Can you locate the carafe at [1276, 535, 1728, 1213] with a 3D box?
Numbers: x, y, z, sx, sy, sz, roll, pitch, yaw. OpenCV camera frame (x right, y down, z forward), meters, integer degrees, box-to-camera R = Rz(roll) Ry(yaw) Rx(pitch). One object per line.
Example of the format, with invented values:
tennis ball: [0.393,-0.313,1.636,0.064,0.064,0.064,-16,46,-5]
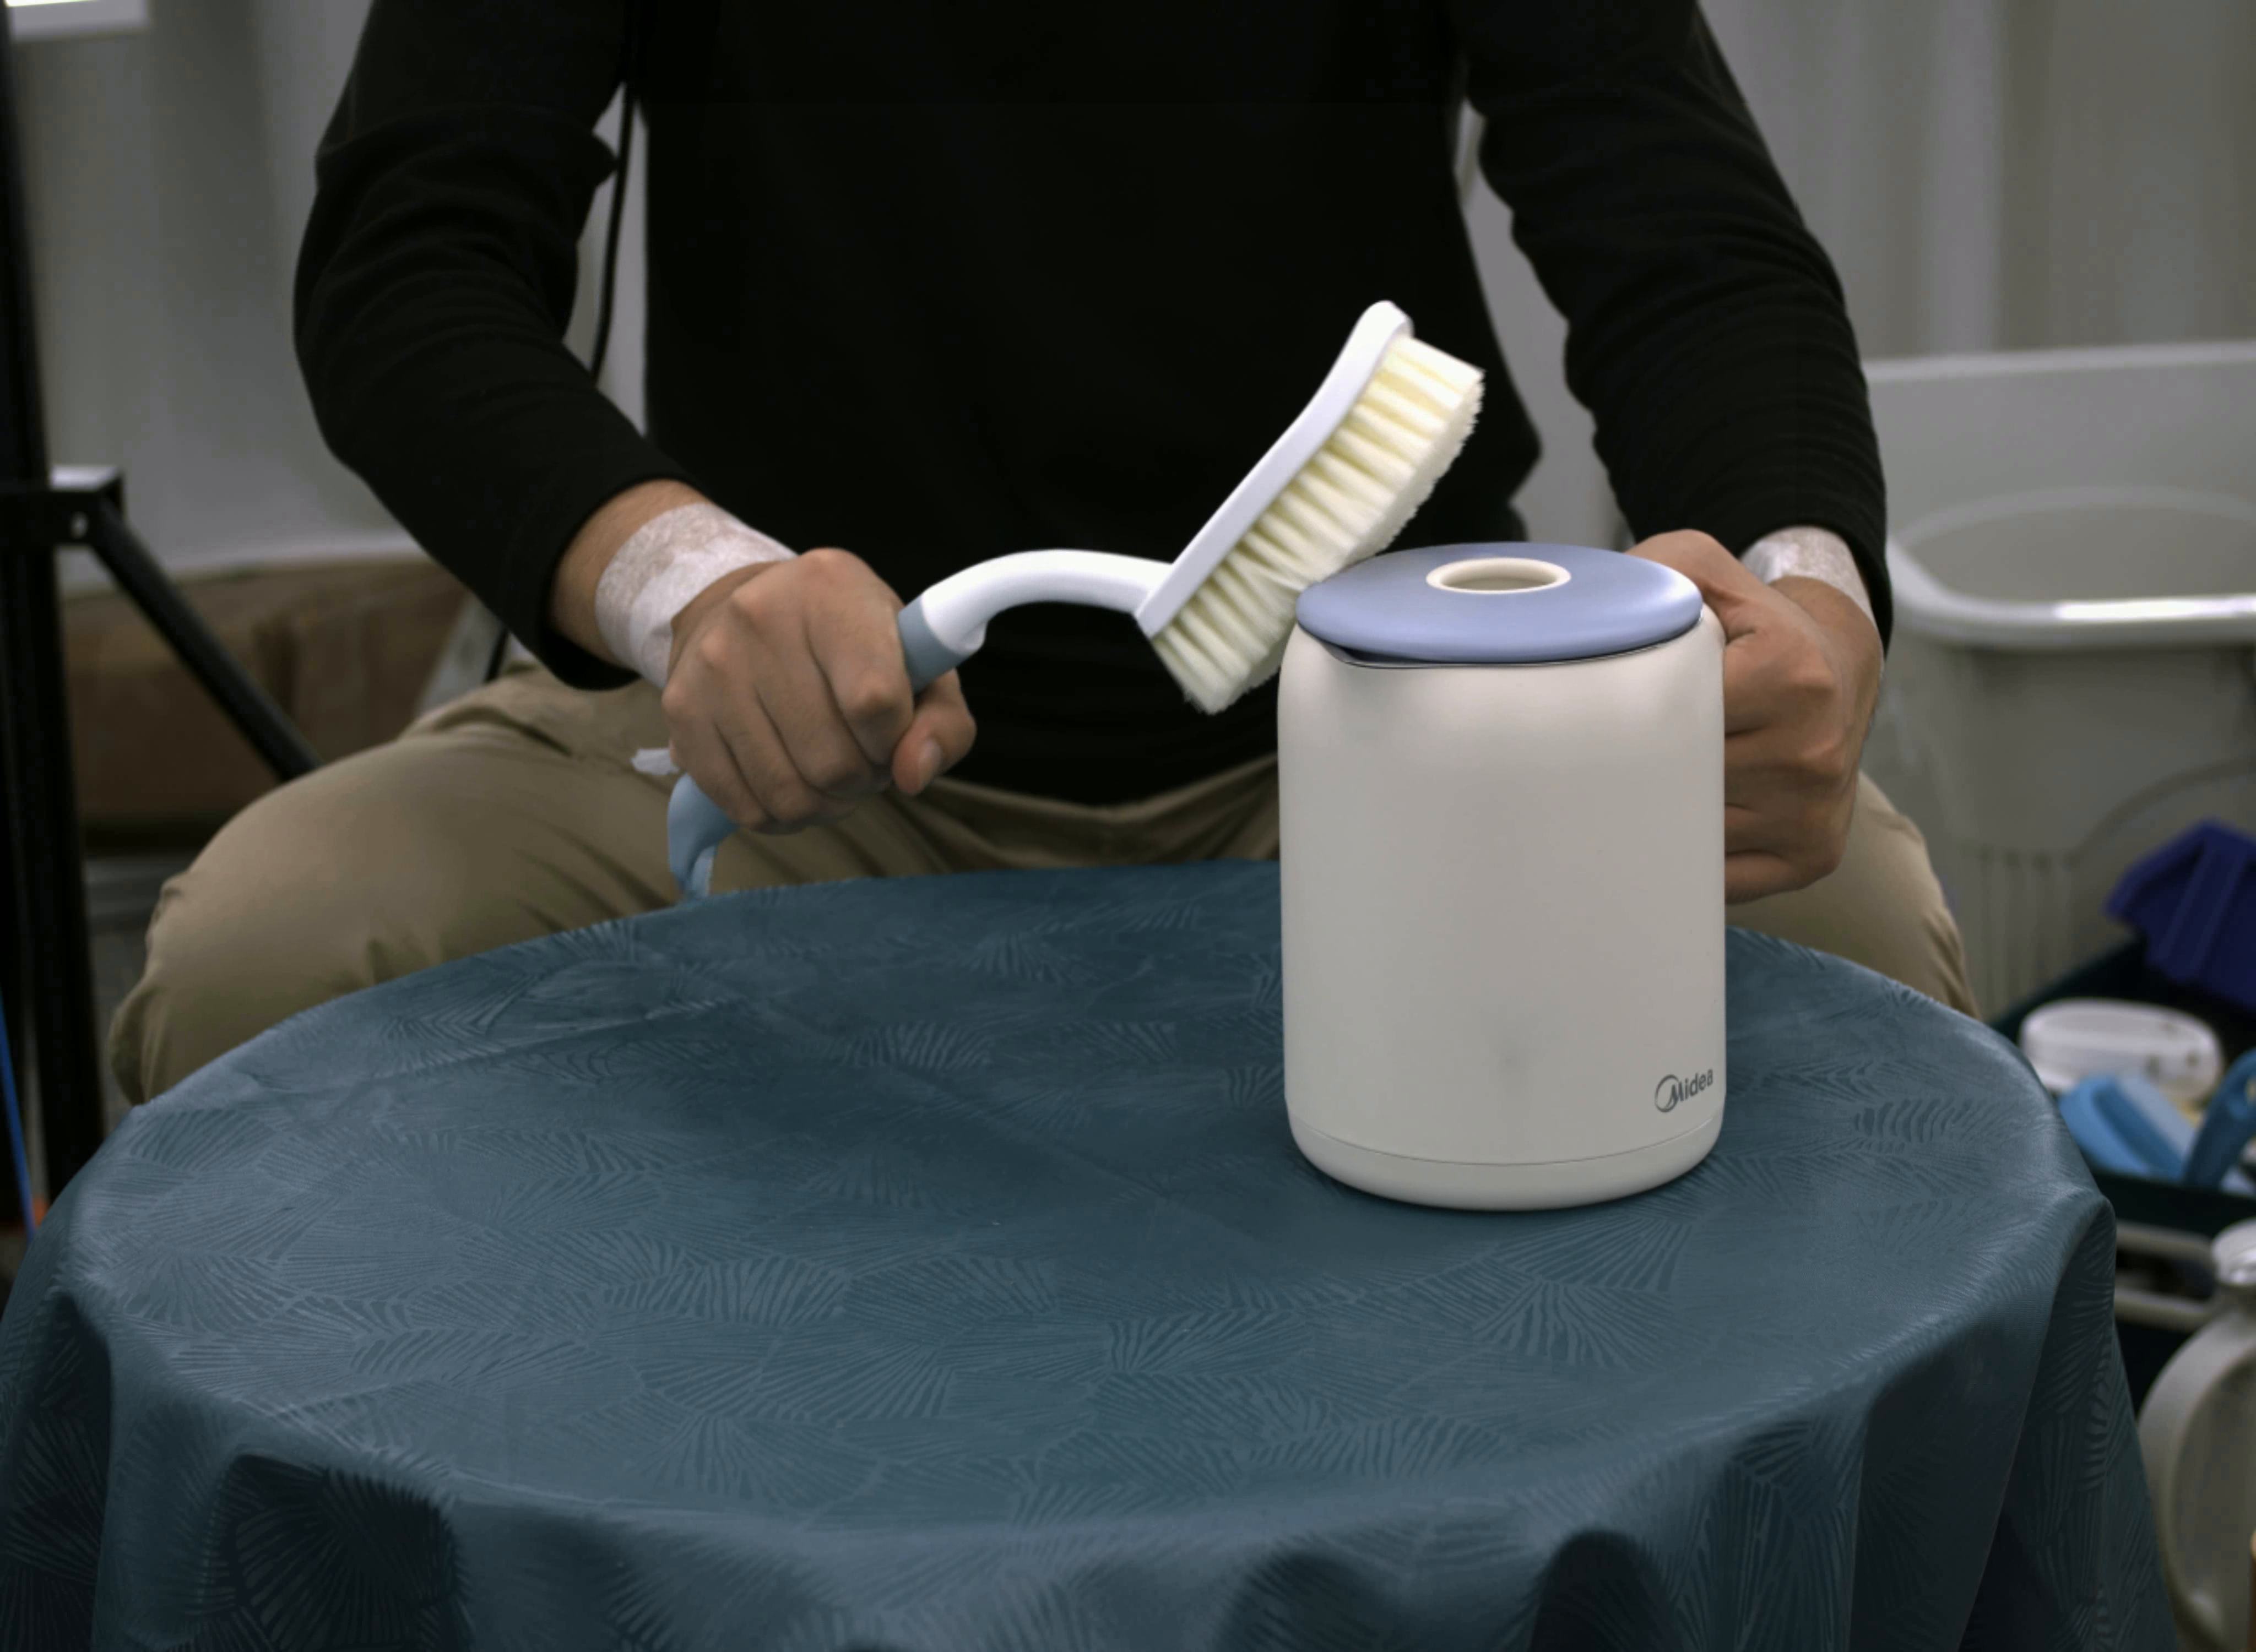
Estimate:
carafe: [0.125,0.008,1.574,0.135,0.182,0.187,11,19,38]

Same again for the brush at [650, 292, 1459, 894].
brush: [-0.017,-0.043,1.632,0.329,0.086,0.081,-36,-41,30]
